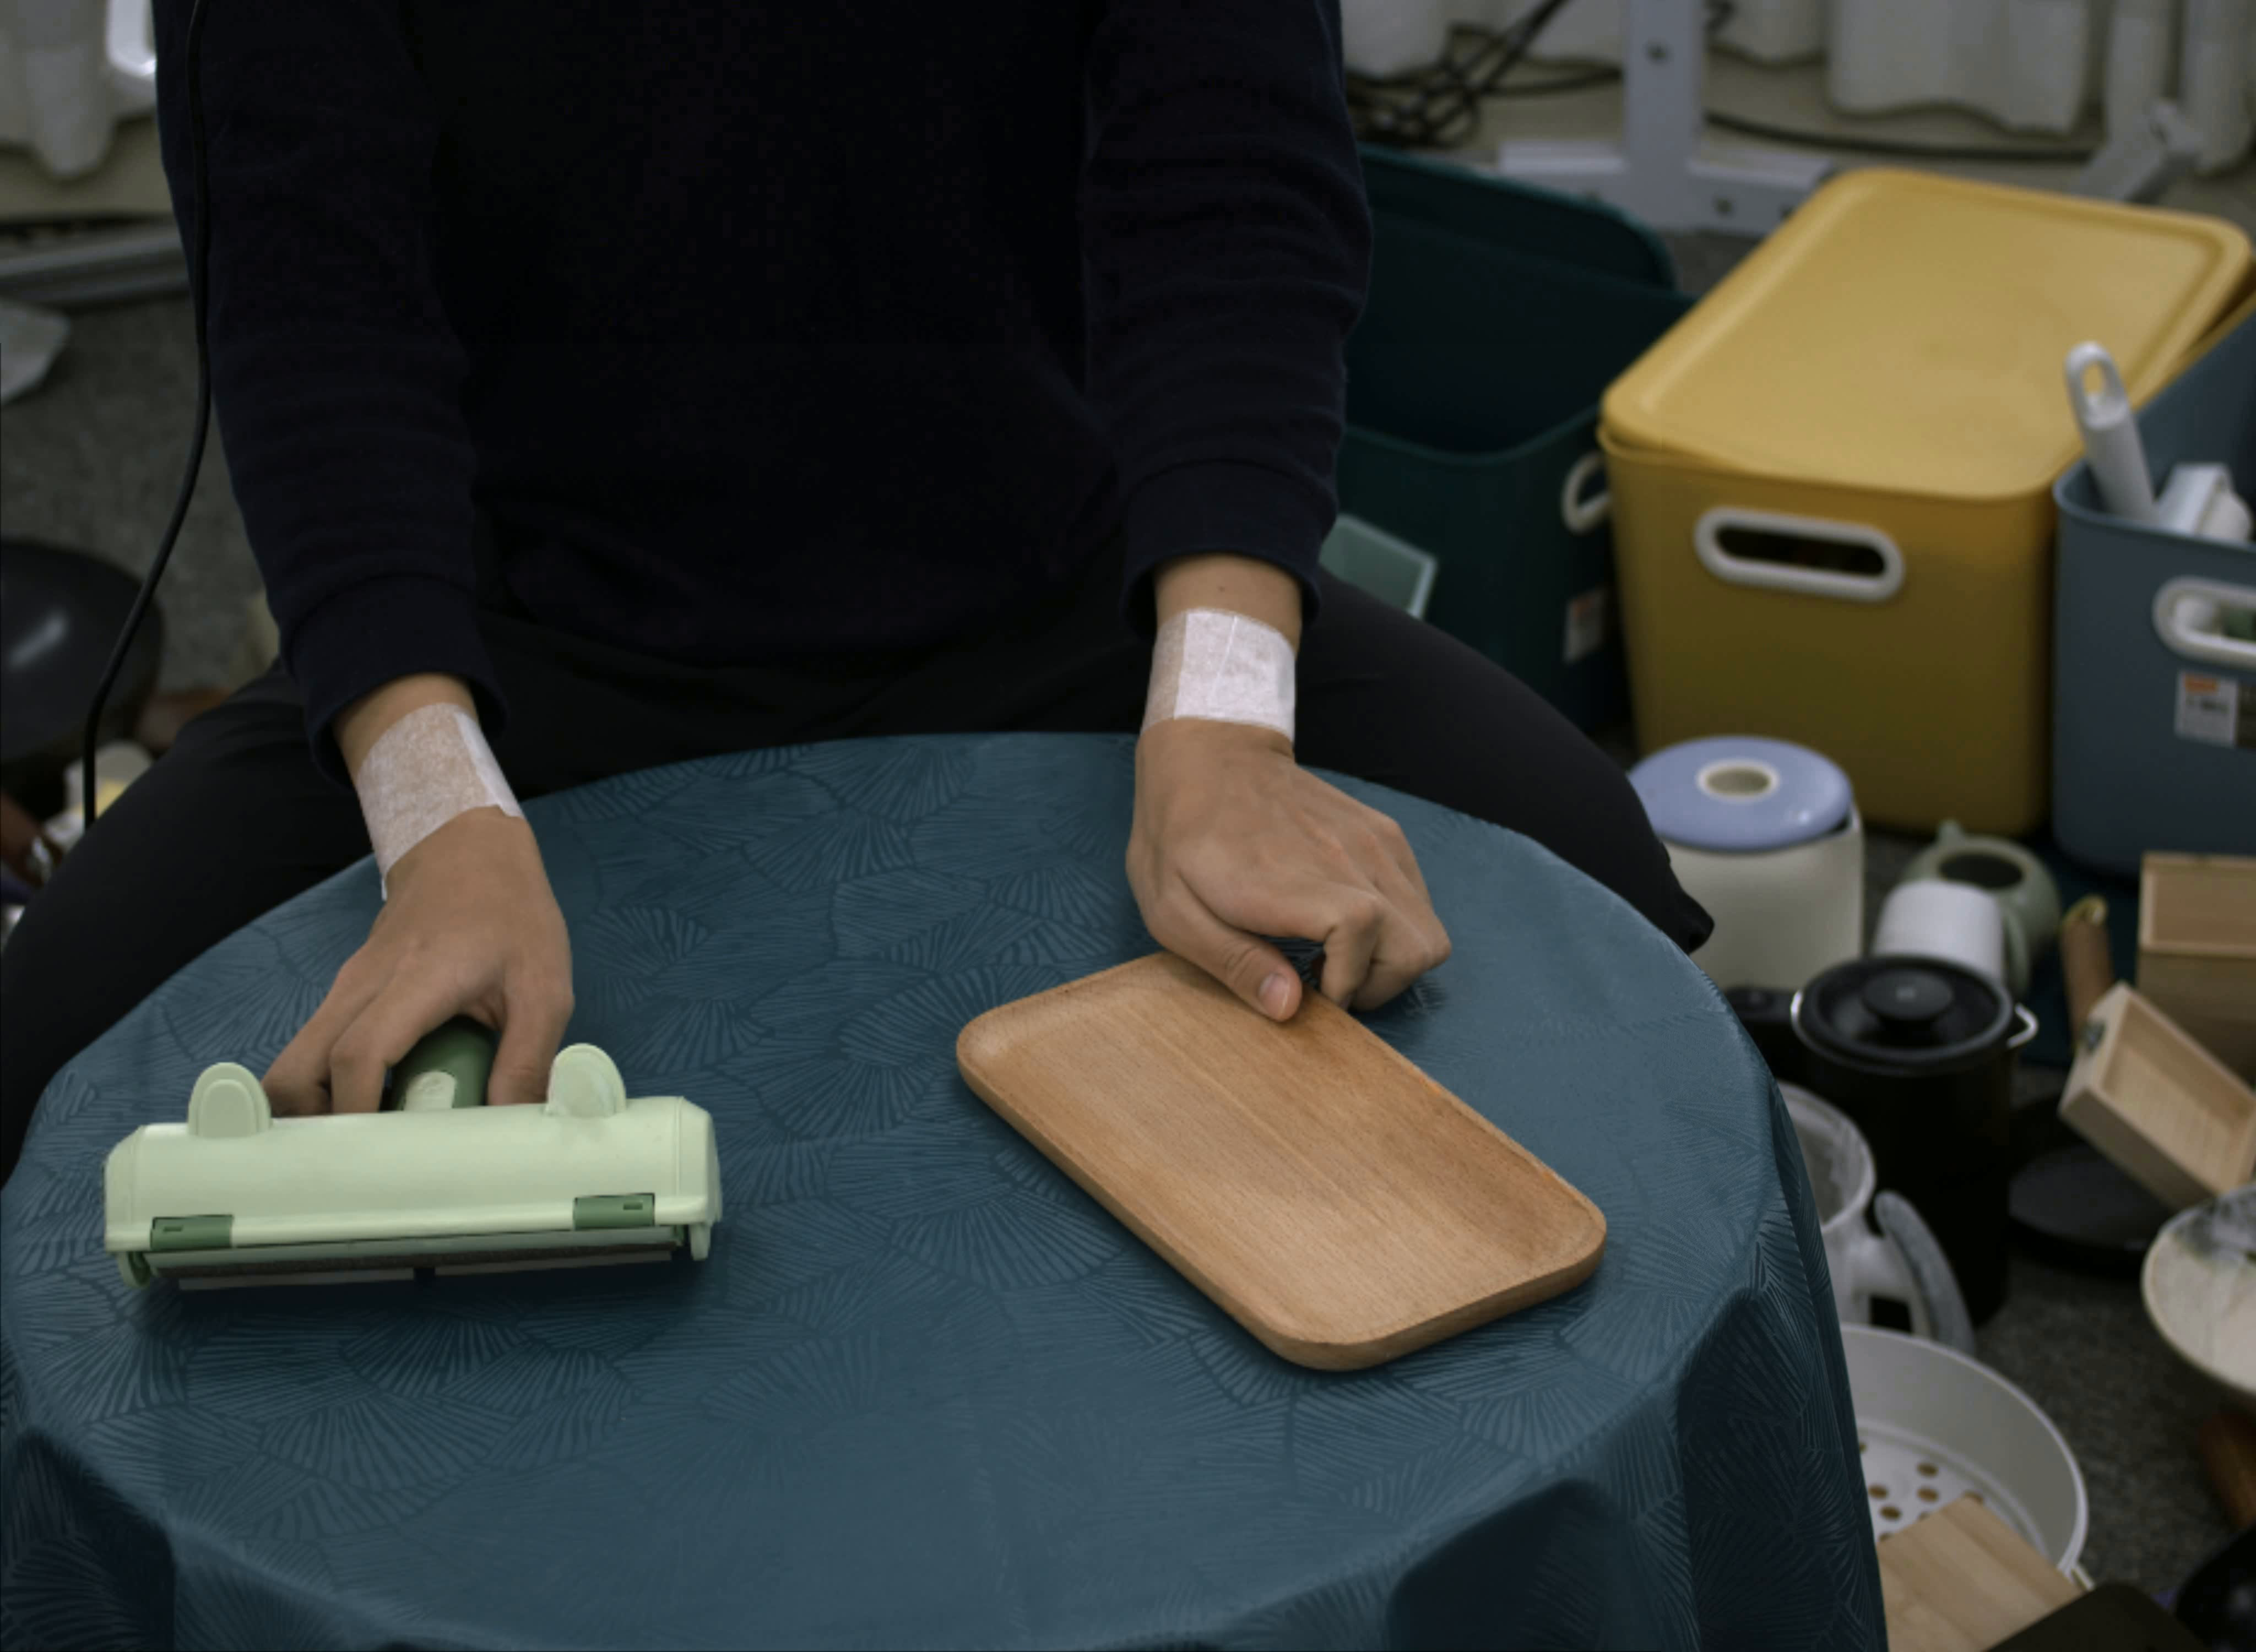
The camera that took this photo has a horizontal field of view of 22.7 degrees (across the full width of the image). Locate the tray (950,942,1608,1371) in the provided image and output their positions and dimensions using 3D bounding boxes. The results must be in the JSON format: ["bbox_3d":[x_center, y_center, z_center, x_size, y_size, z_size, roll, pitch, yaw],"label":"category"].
[{"bbox_3d":[0.046,0.107,1.868,0.131,0.022,0.251,-15,29,-26],"label":"tray"}]

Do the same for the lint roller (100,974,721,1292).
[{"bbox_3d":[-0.234,0.082,1.868,0.198,0.081,0.186,-3,33,-1],"label":"lint roller"}]
